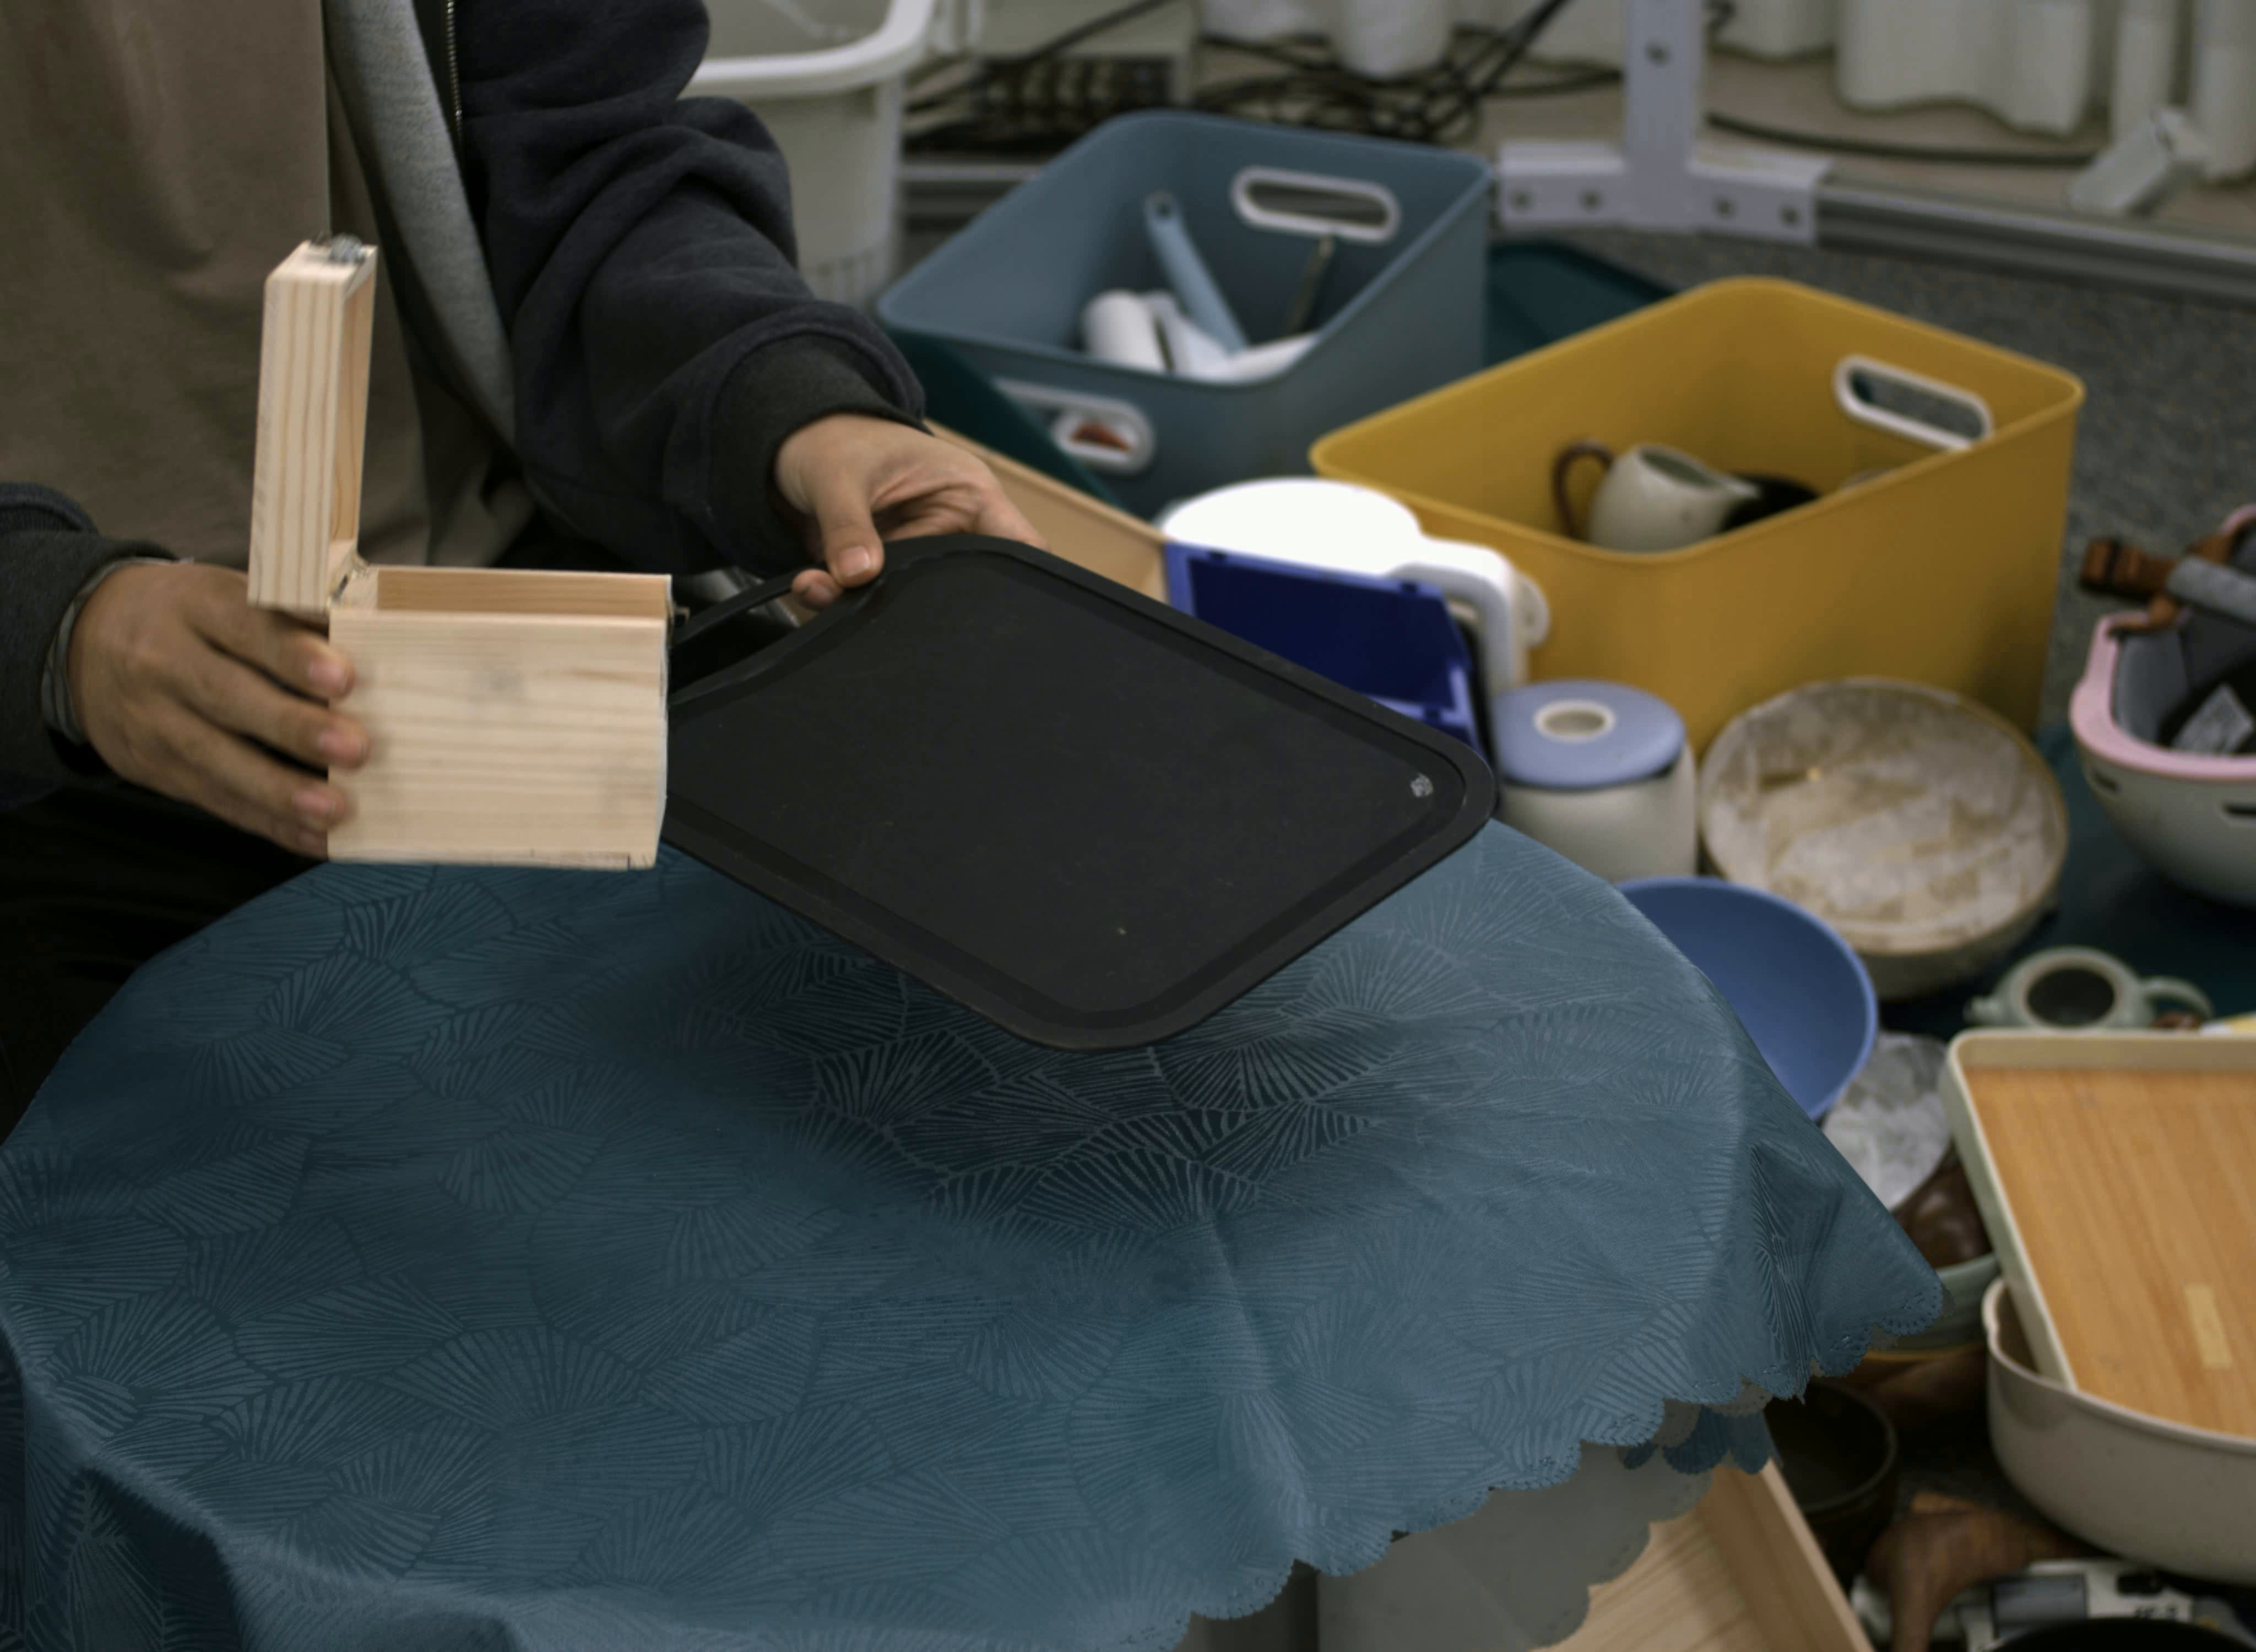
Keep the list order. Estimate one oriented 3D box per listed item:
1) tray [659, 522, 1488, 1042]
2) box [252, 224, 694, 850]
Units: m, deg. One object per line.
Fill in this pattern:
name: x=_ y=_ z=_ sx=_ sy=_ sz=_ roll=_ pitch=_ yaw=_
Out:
tray: x=-0.046 y=-0.024 z=1.938 sx=0.214 sy=0.009 sz=0.325 roll=-32 pitch=41 yaw=-32
box: x=-0.202 y=-0.092 z=1.762 sx=0.133 sy=0.184 sz=0.103 roll=1 pitch=9 yaw=-4
